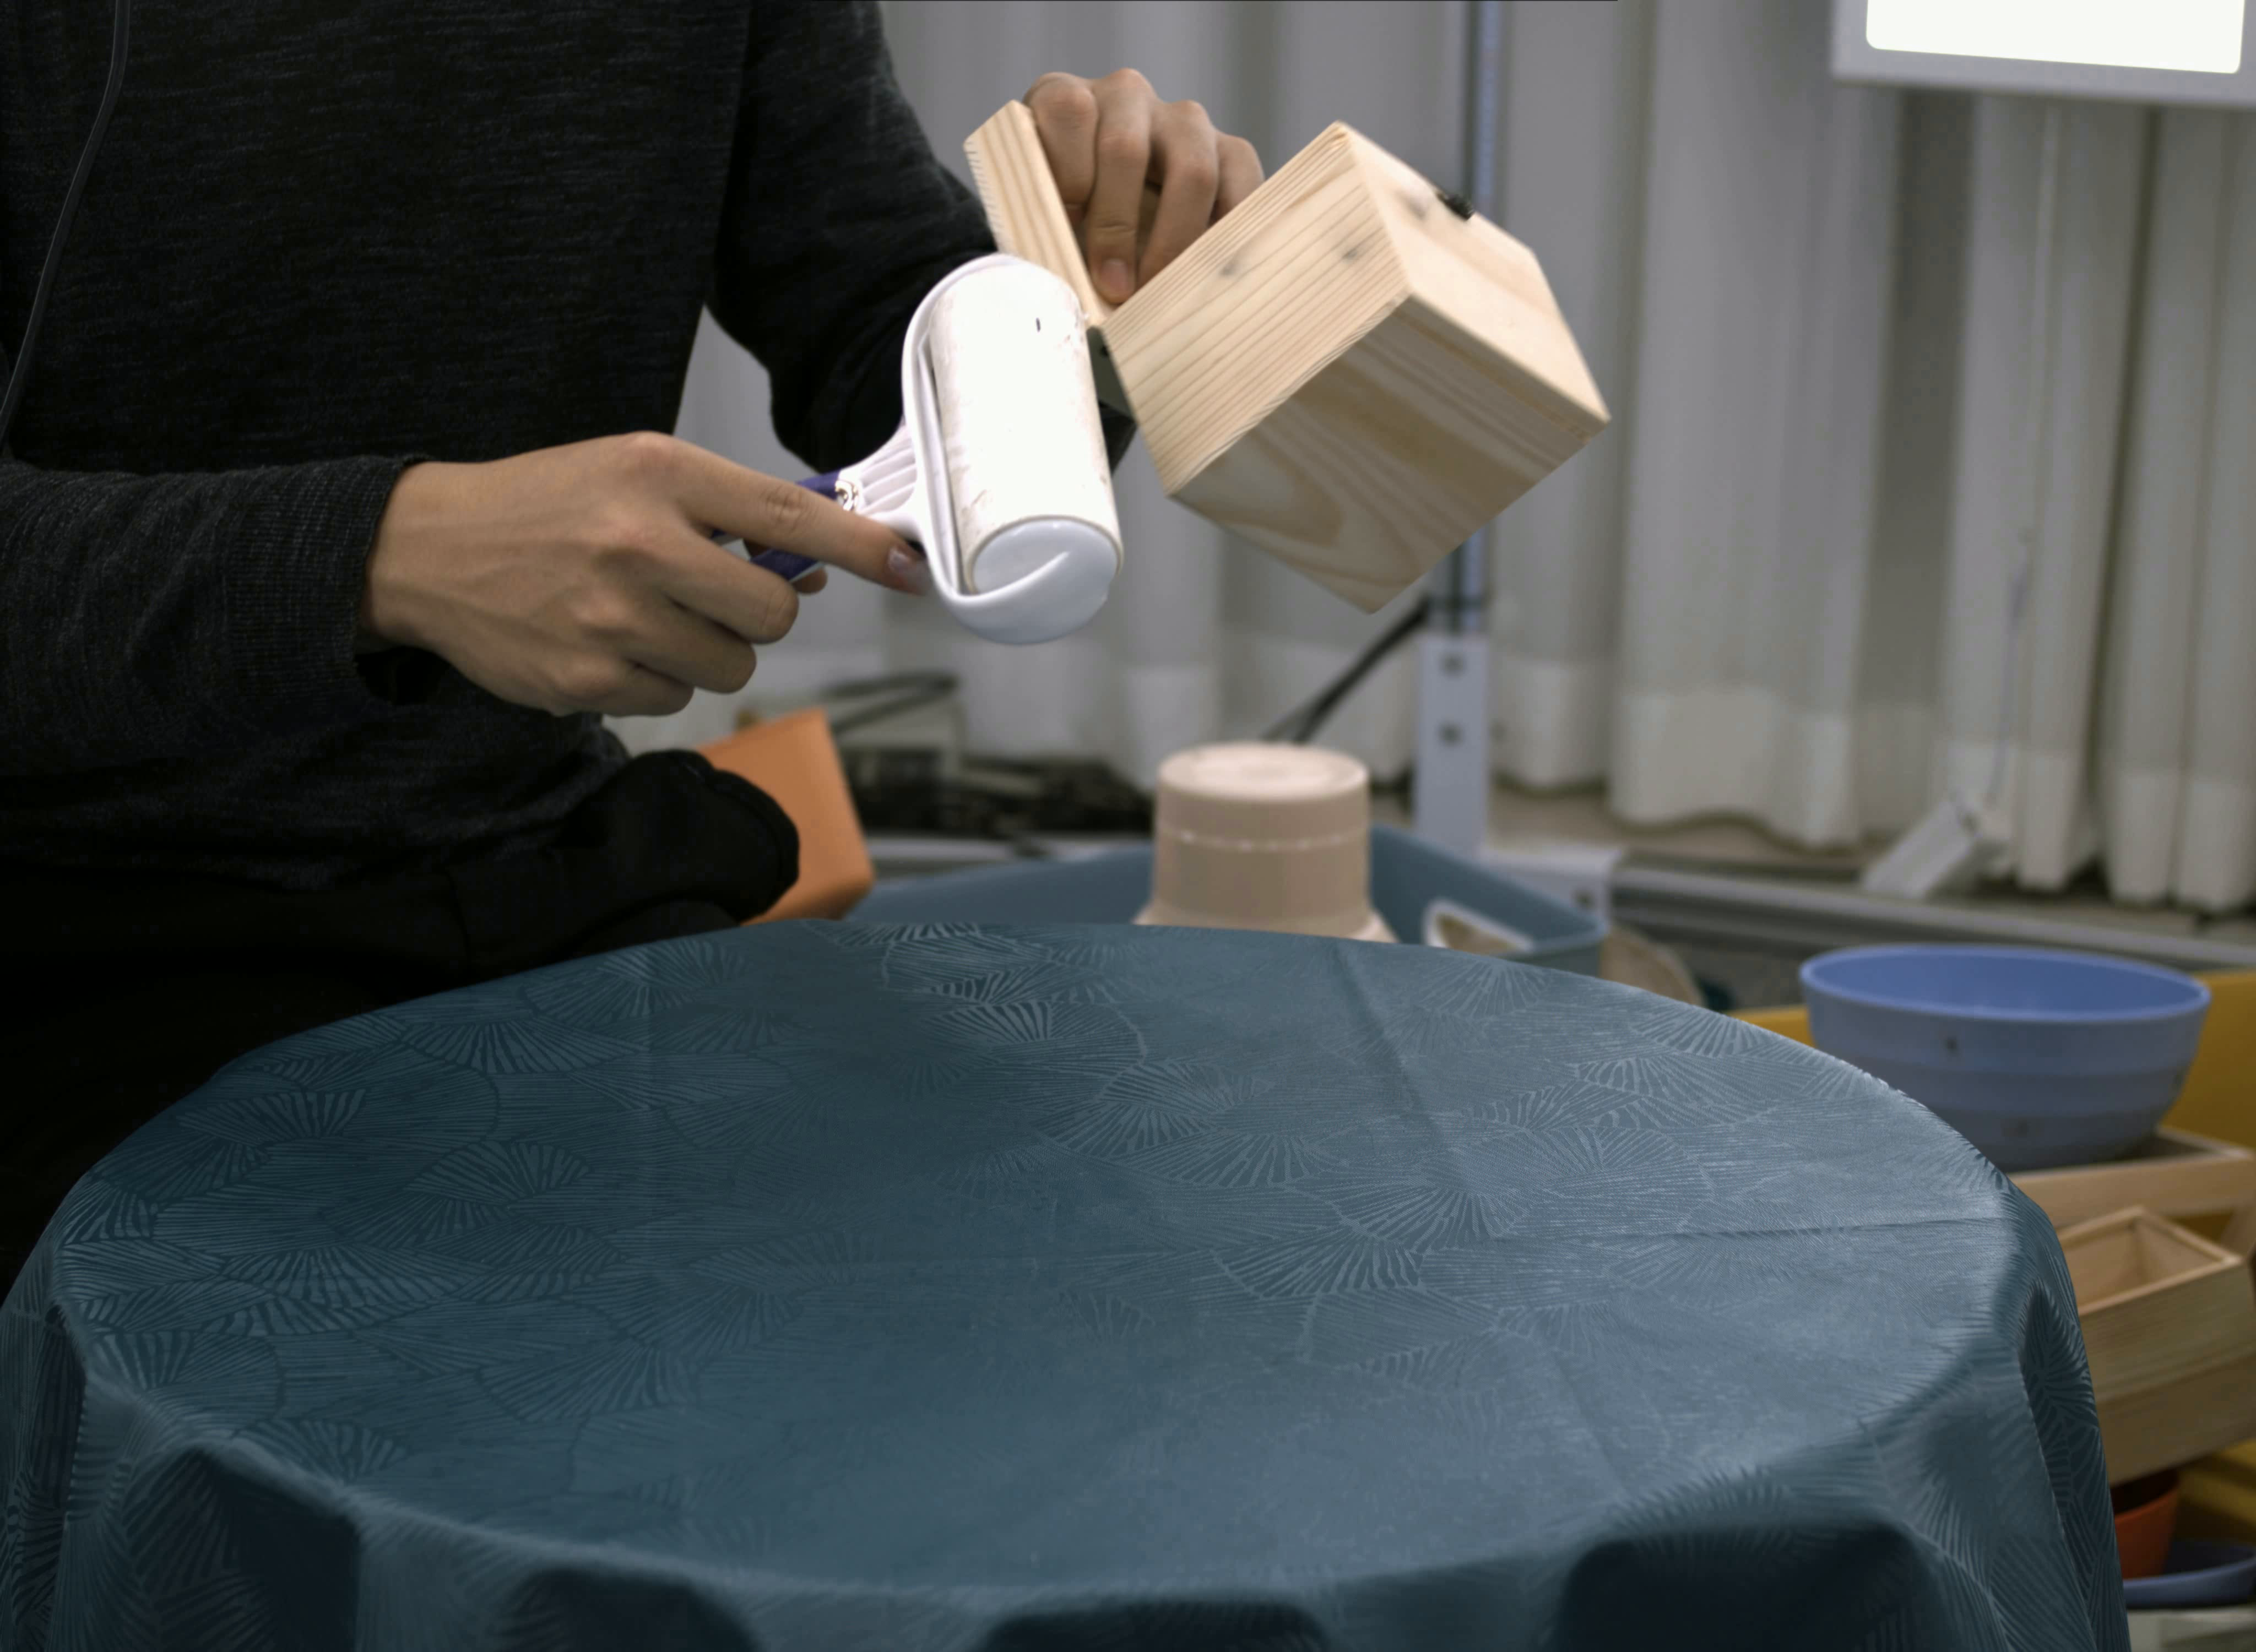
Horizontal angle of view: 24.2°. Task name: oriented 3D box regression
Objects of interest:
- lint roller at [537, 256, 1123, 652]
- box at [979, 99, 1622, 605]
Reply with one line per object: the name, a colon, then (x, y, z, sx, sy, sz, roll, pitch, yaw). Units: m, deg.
lint roller: (-0.093, -0.096, 1.540, 0.180, 0.051, 0.131, -13, 53, 7)
box: (0.052, -0.176, 1.649, 0.104, 0.134, 0.182, 27, 32, -44)
